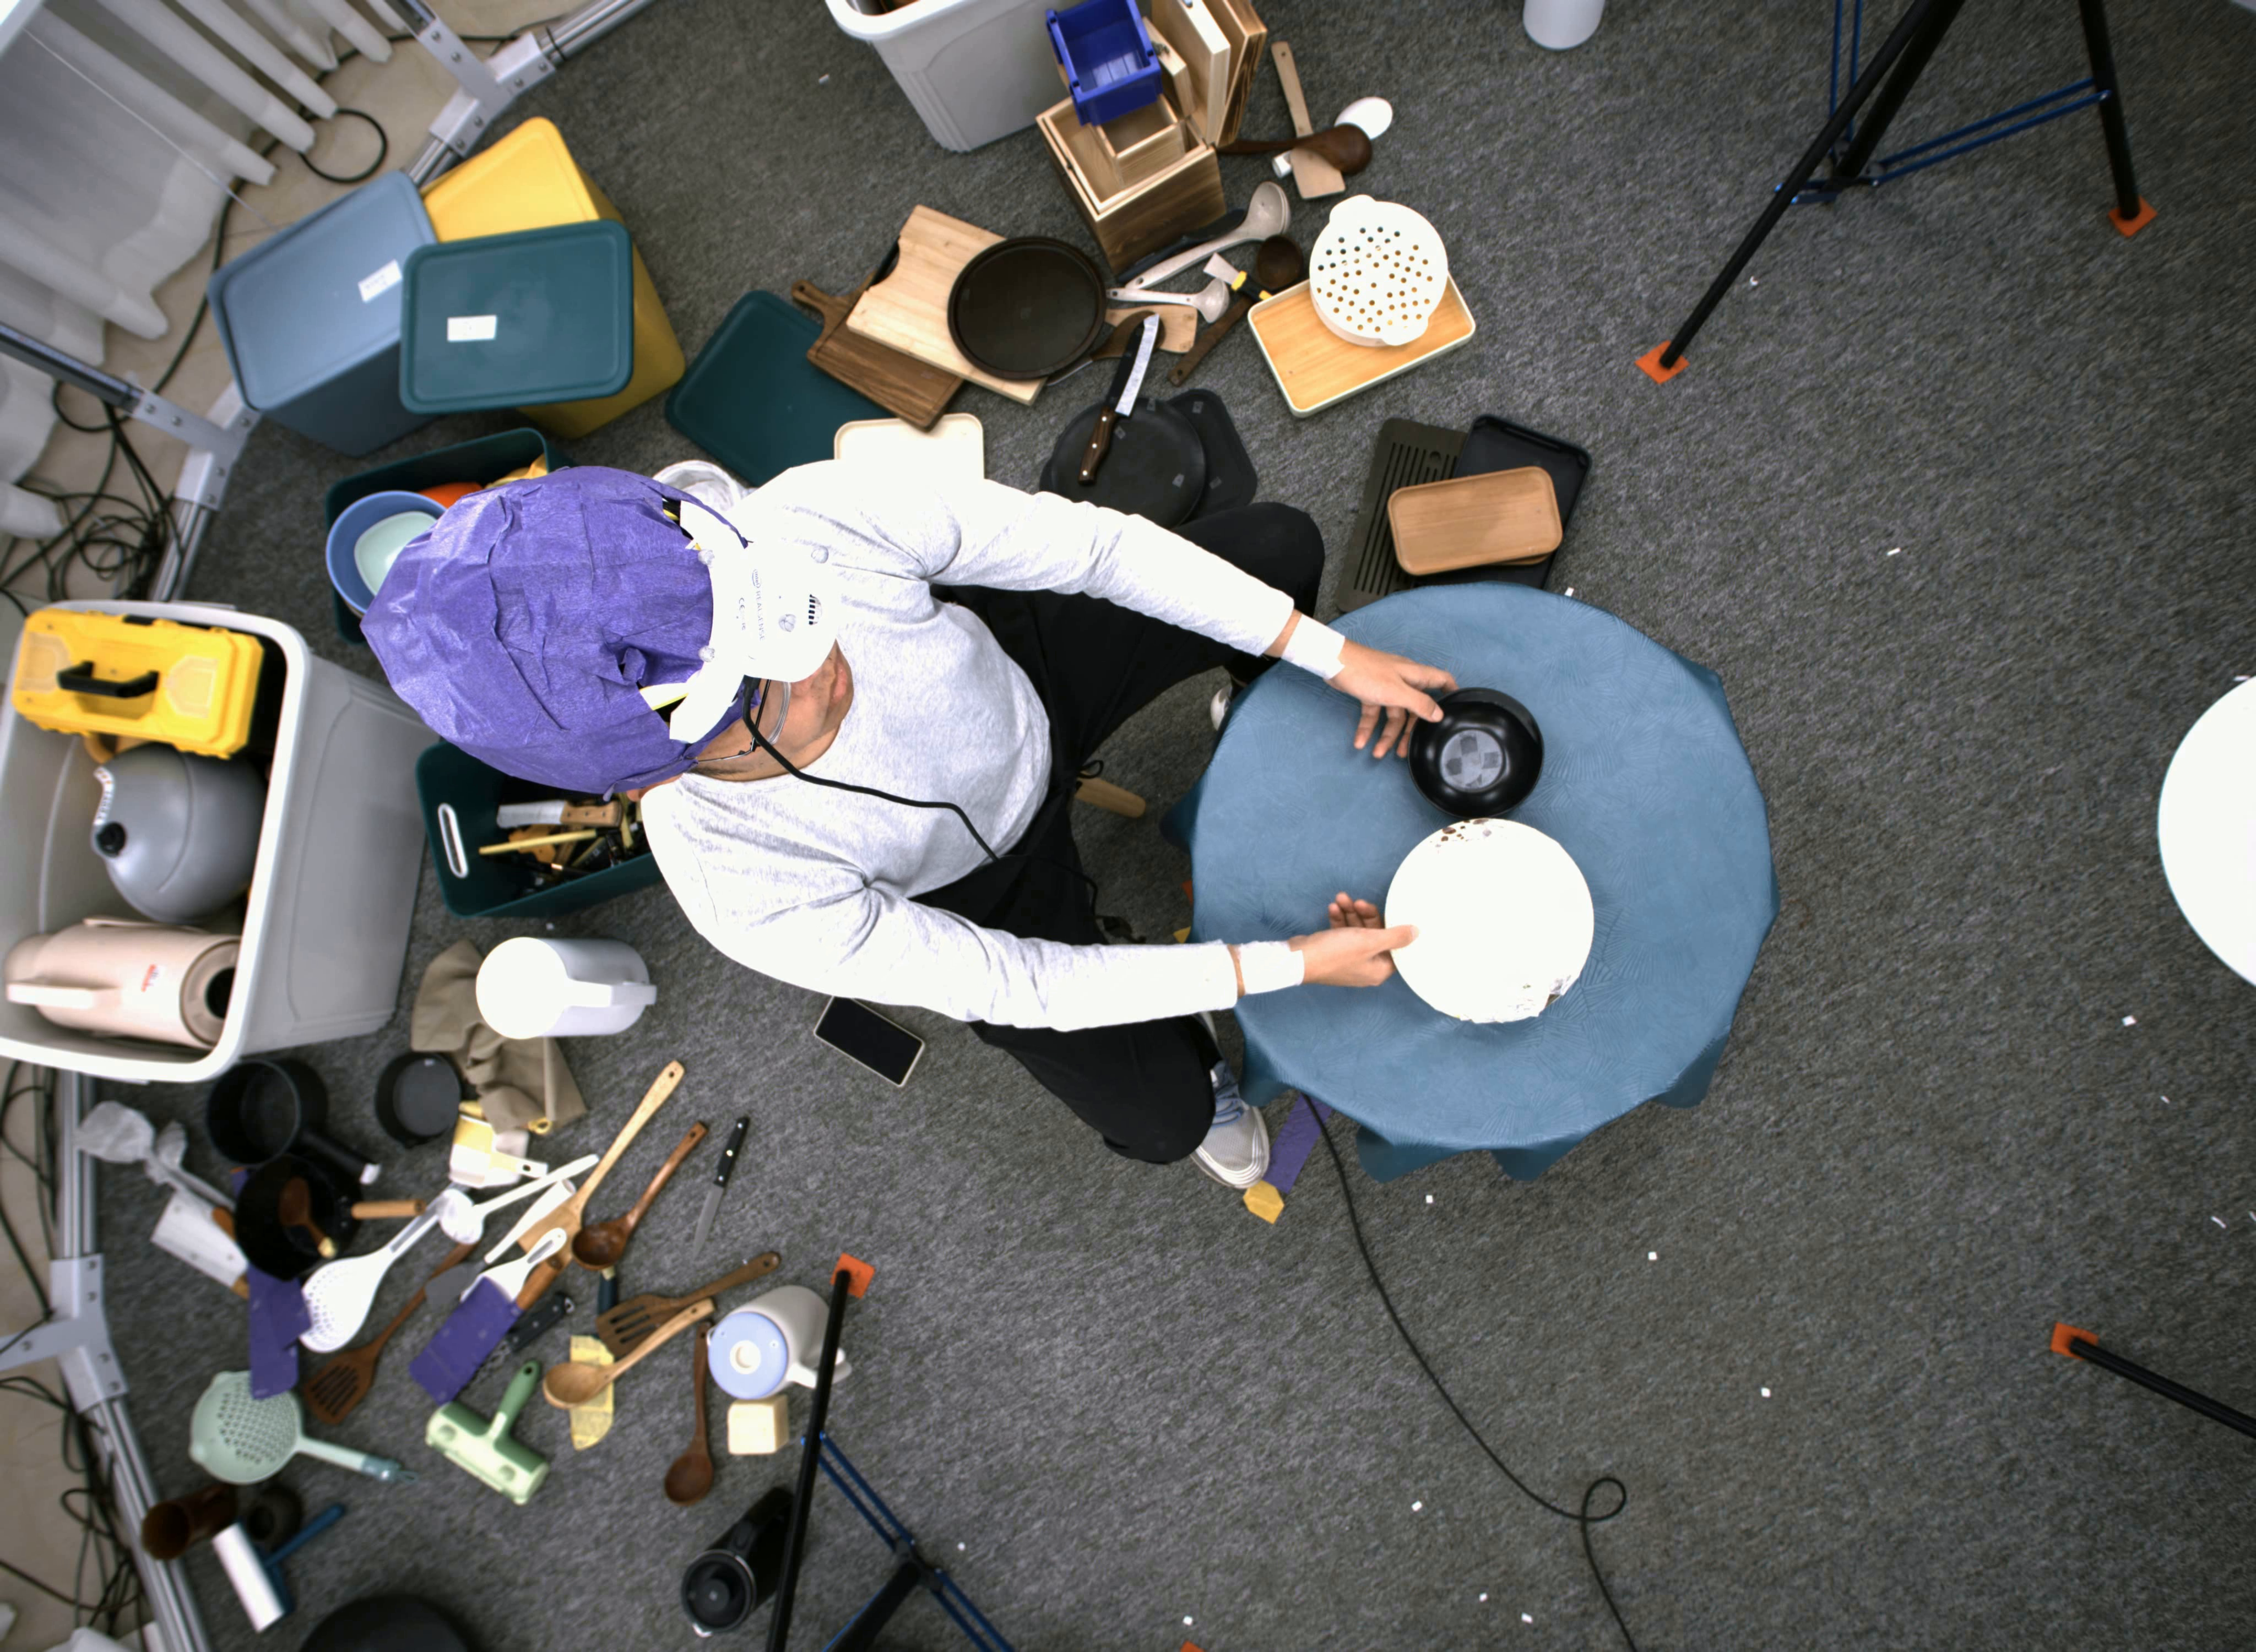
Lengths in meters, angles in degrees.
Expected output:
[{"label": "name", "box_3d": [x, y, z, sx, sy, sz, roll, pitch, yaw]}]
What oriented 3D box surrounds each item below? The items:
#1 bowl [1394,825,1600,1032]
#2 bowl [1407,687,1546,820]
[{"label": "bowl", "box_3d": [0.364, 0.102, 1.388, 0.204, 0.078, 0.203, 0, 86, 2]}, {"label": "bowl", "box_3d": [0.360, -0.074, 1.426, 0.140, 0.050, 0.139, -1, 84, 11]}]
